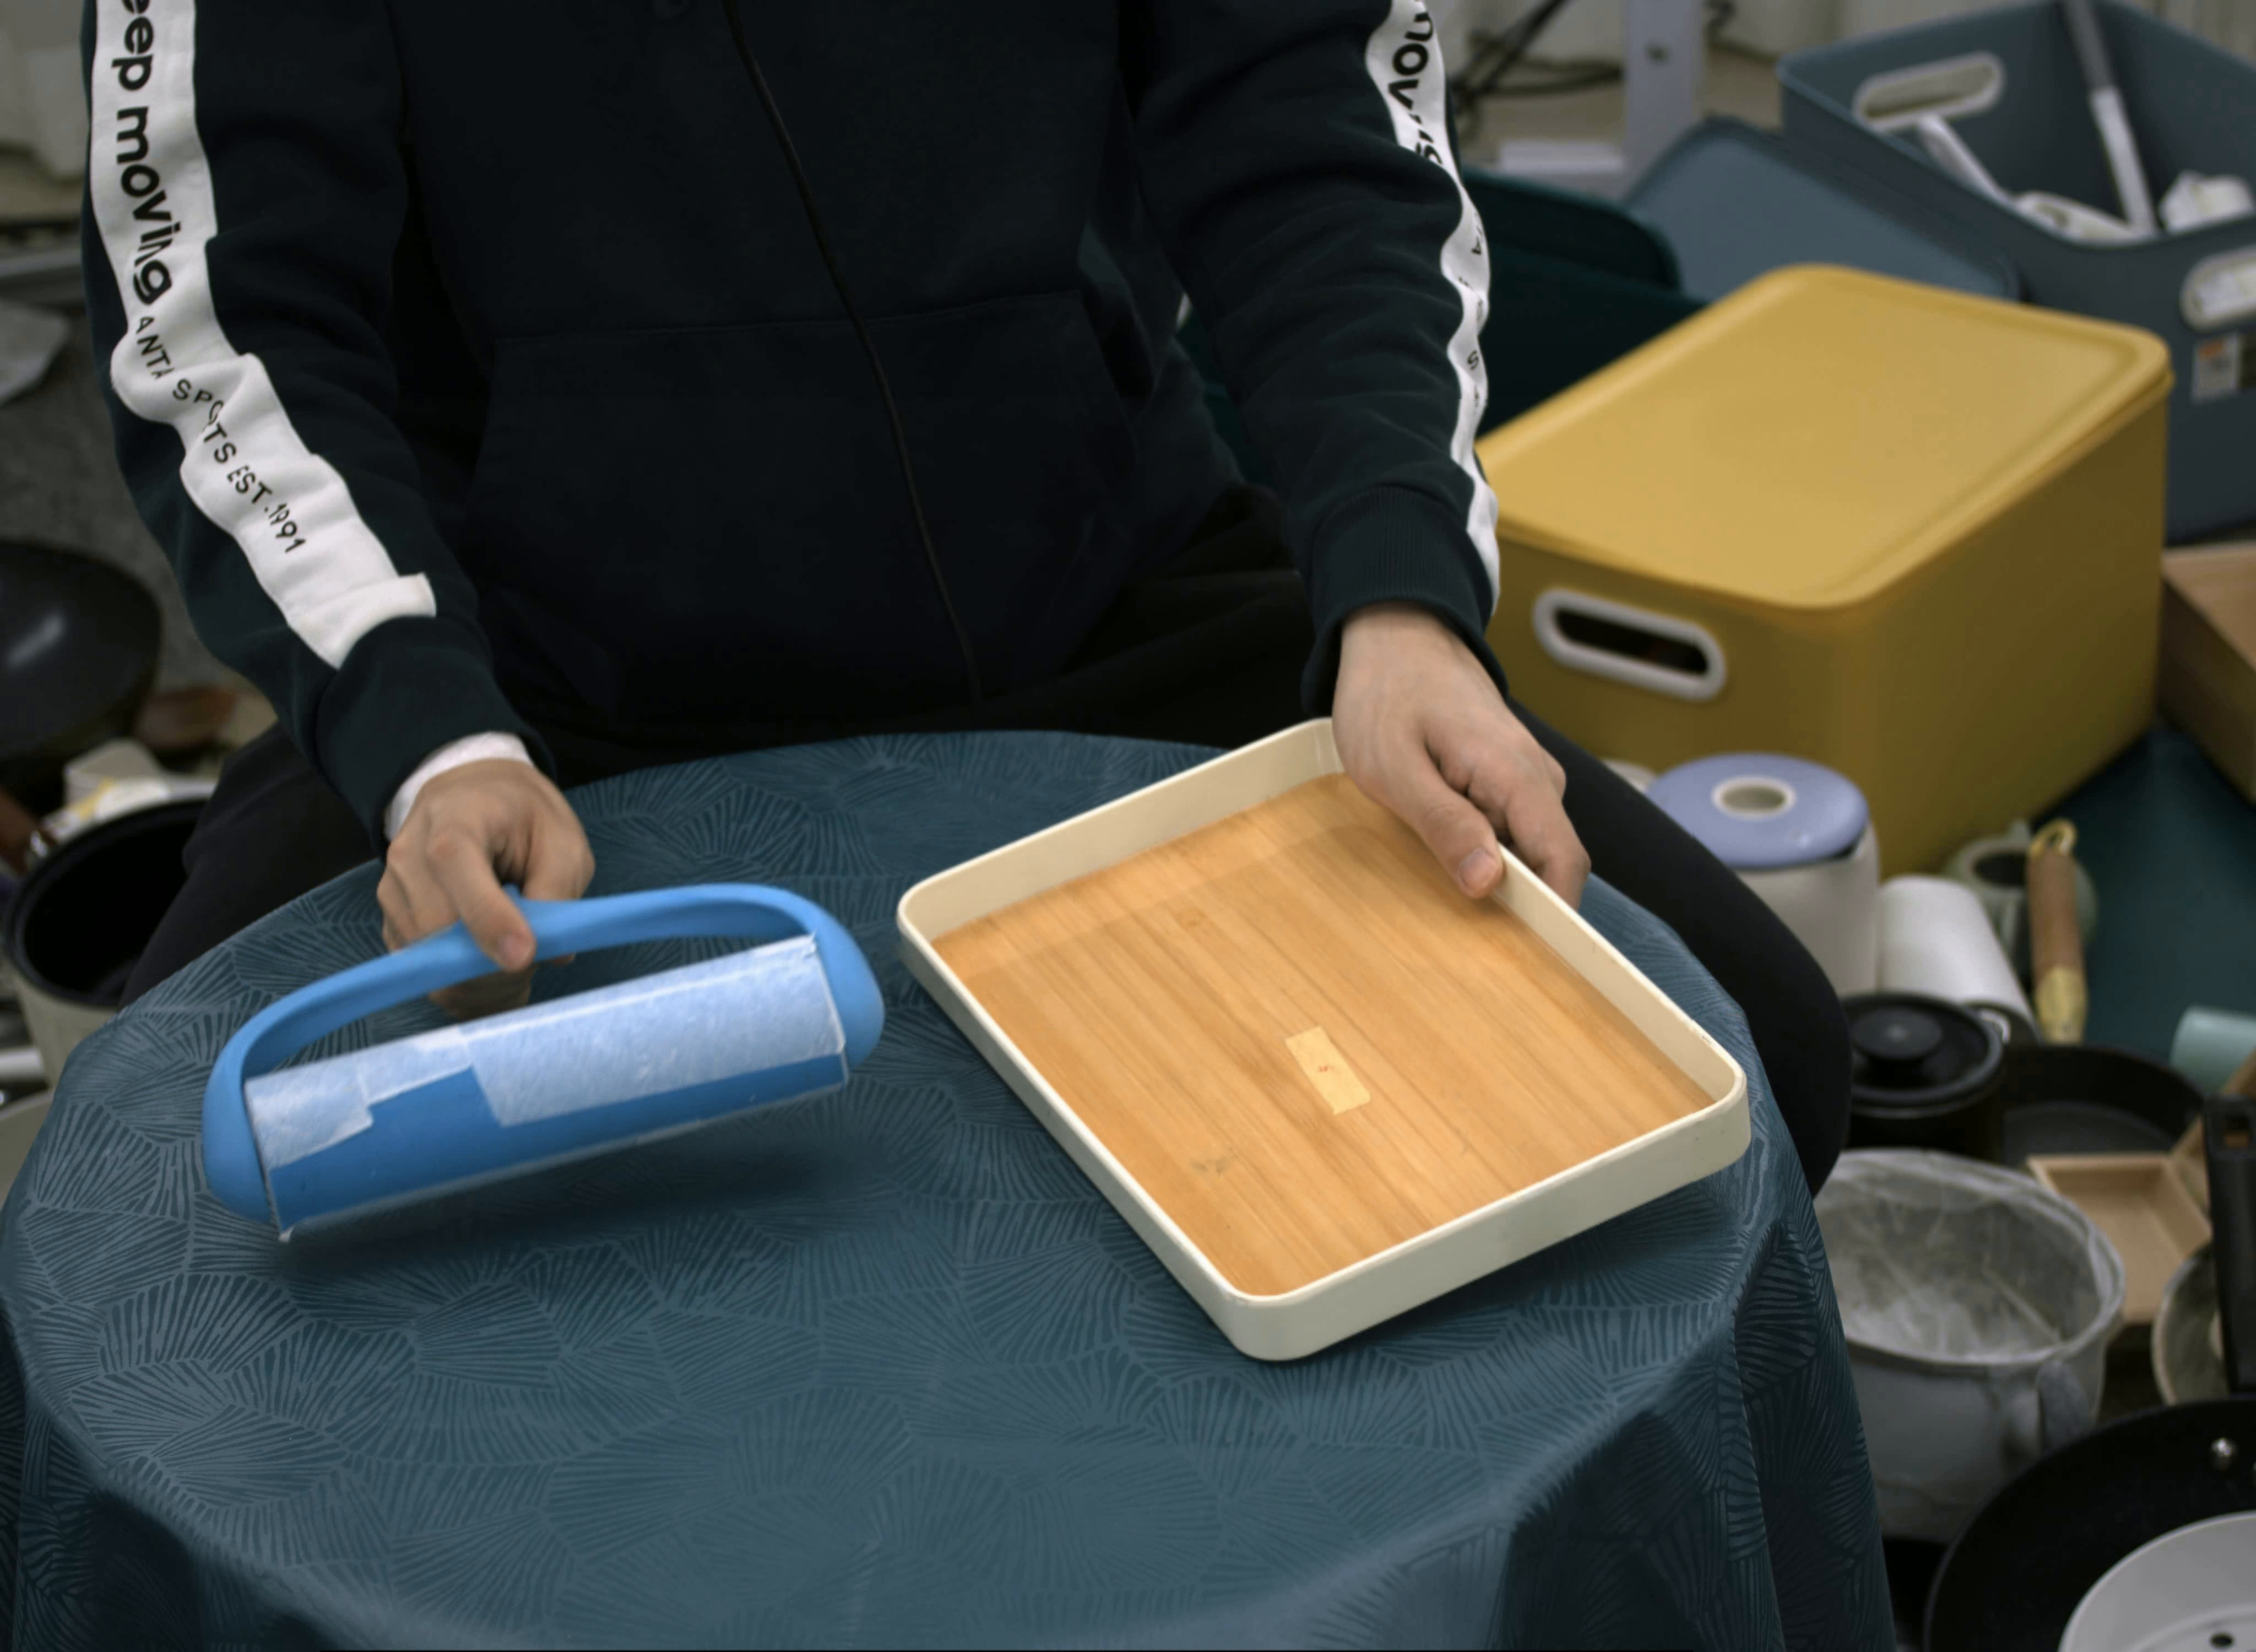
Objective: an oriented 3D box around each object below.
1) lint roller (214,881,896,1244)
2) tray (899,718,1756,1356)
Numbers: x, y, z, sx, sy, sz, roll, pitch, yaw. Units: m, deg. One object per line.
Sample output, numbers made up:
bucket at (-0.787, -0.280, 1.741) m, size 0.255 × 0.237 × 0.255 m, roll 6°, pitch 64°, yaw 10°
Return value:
lint roller at (-0.206, 0.058, 1.891) m, size 0.229 × 0.067 × 0.182 m, roll -18°, pitch 31°, yaw -13°
tray at (0.061, 0.065, 1.898) m, size 0.192 × 0.027 × 0.302 m, roll -22°, pitch 33°, yaw -16°
